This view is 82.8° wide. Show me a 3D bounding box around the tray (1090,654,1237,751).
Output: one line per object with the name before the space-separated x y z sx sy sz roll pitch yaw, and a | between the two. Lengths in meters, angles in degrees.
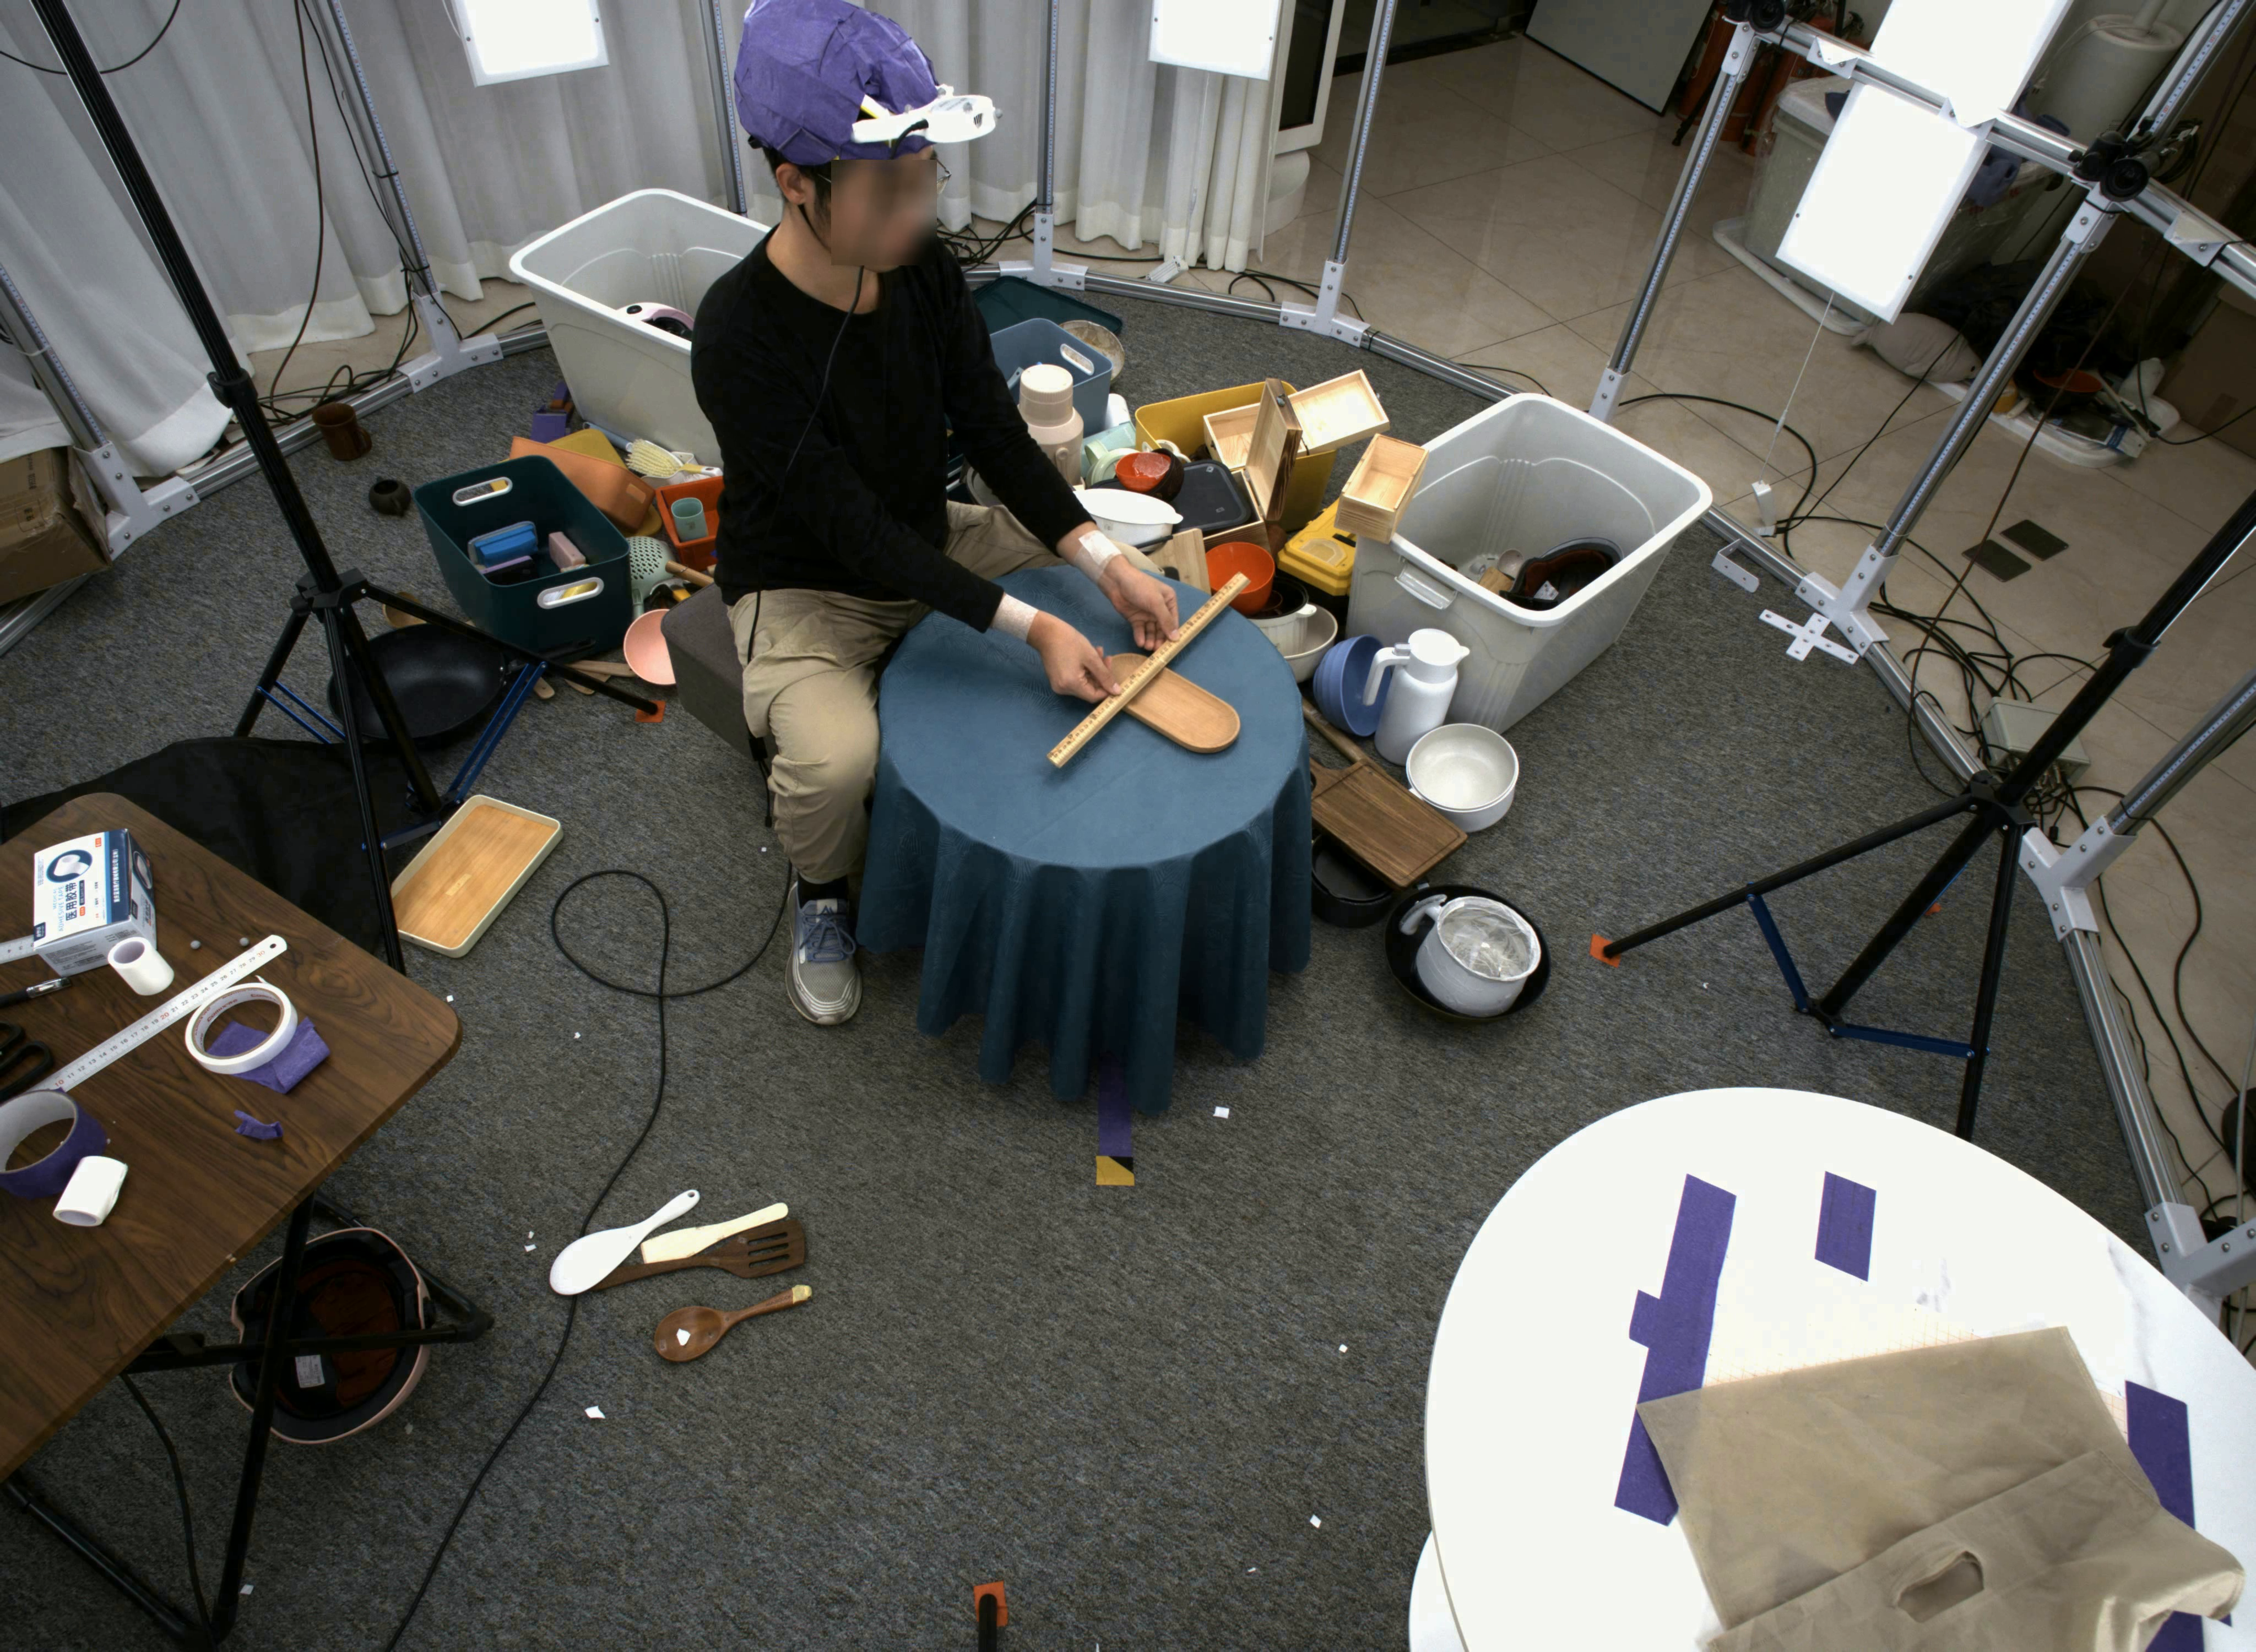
tray | 0.049 -0.176 1.815 0.234 0.020 0.103 30 53 23

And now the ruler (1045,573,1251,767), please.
ruler | 0.039 -0.236 1.849 0.027 0.006 0.507 38 54 7
